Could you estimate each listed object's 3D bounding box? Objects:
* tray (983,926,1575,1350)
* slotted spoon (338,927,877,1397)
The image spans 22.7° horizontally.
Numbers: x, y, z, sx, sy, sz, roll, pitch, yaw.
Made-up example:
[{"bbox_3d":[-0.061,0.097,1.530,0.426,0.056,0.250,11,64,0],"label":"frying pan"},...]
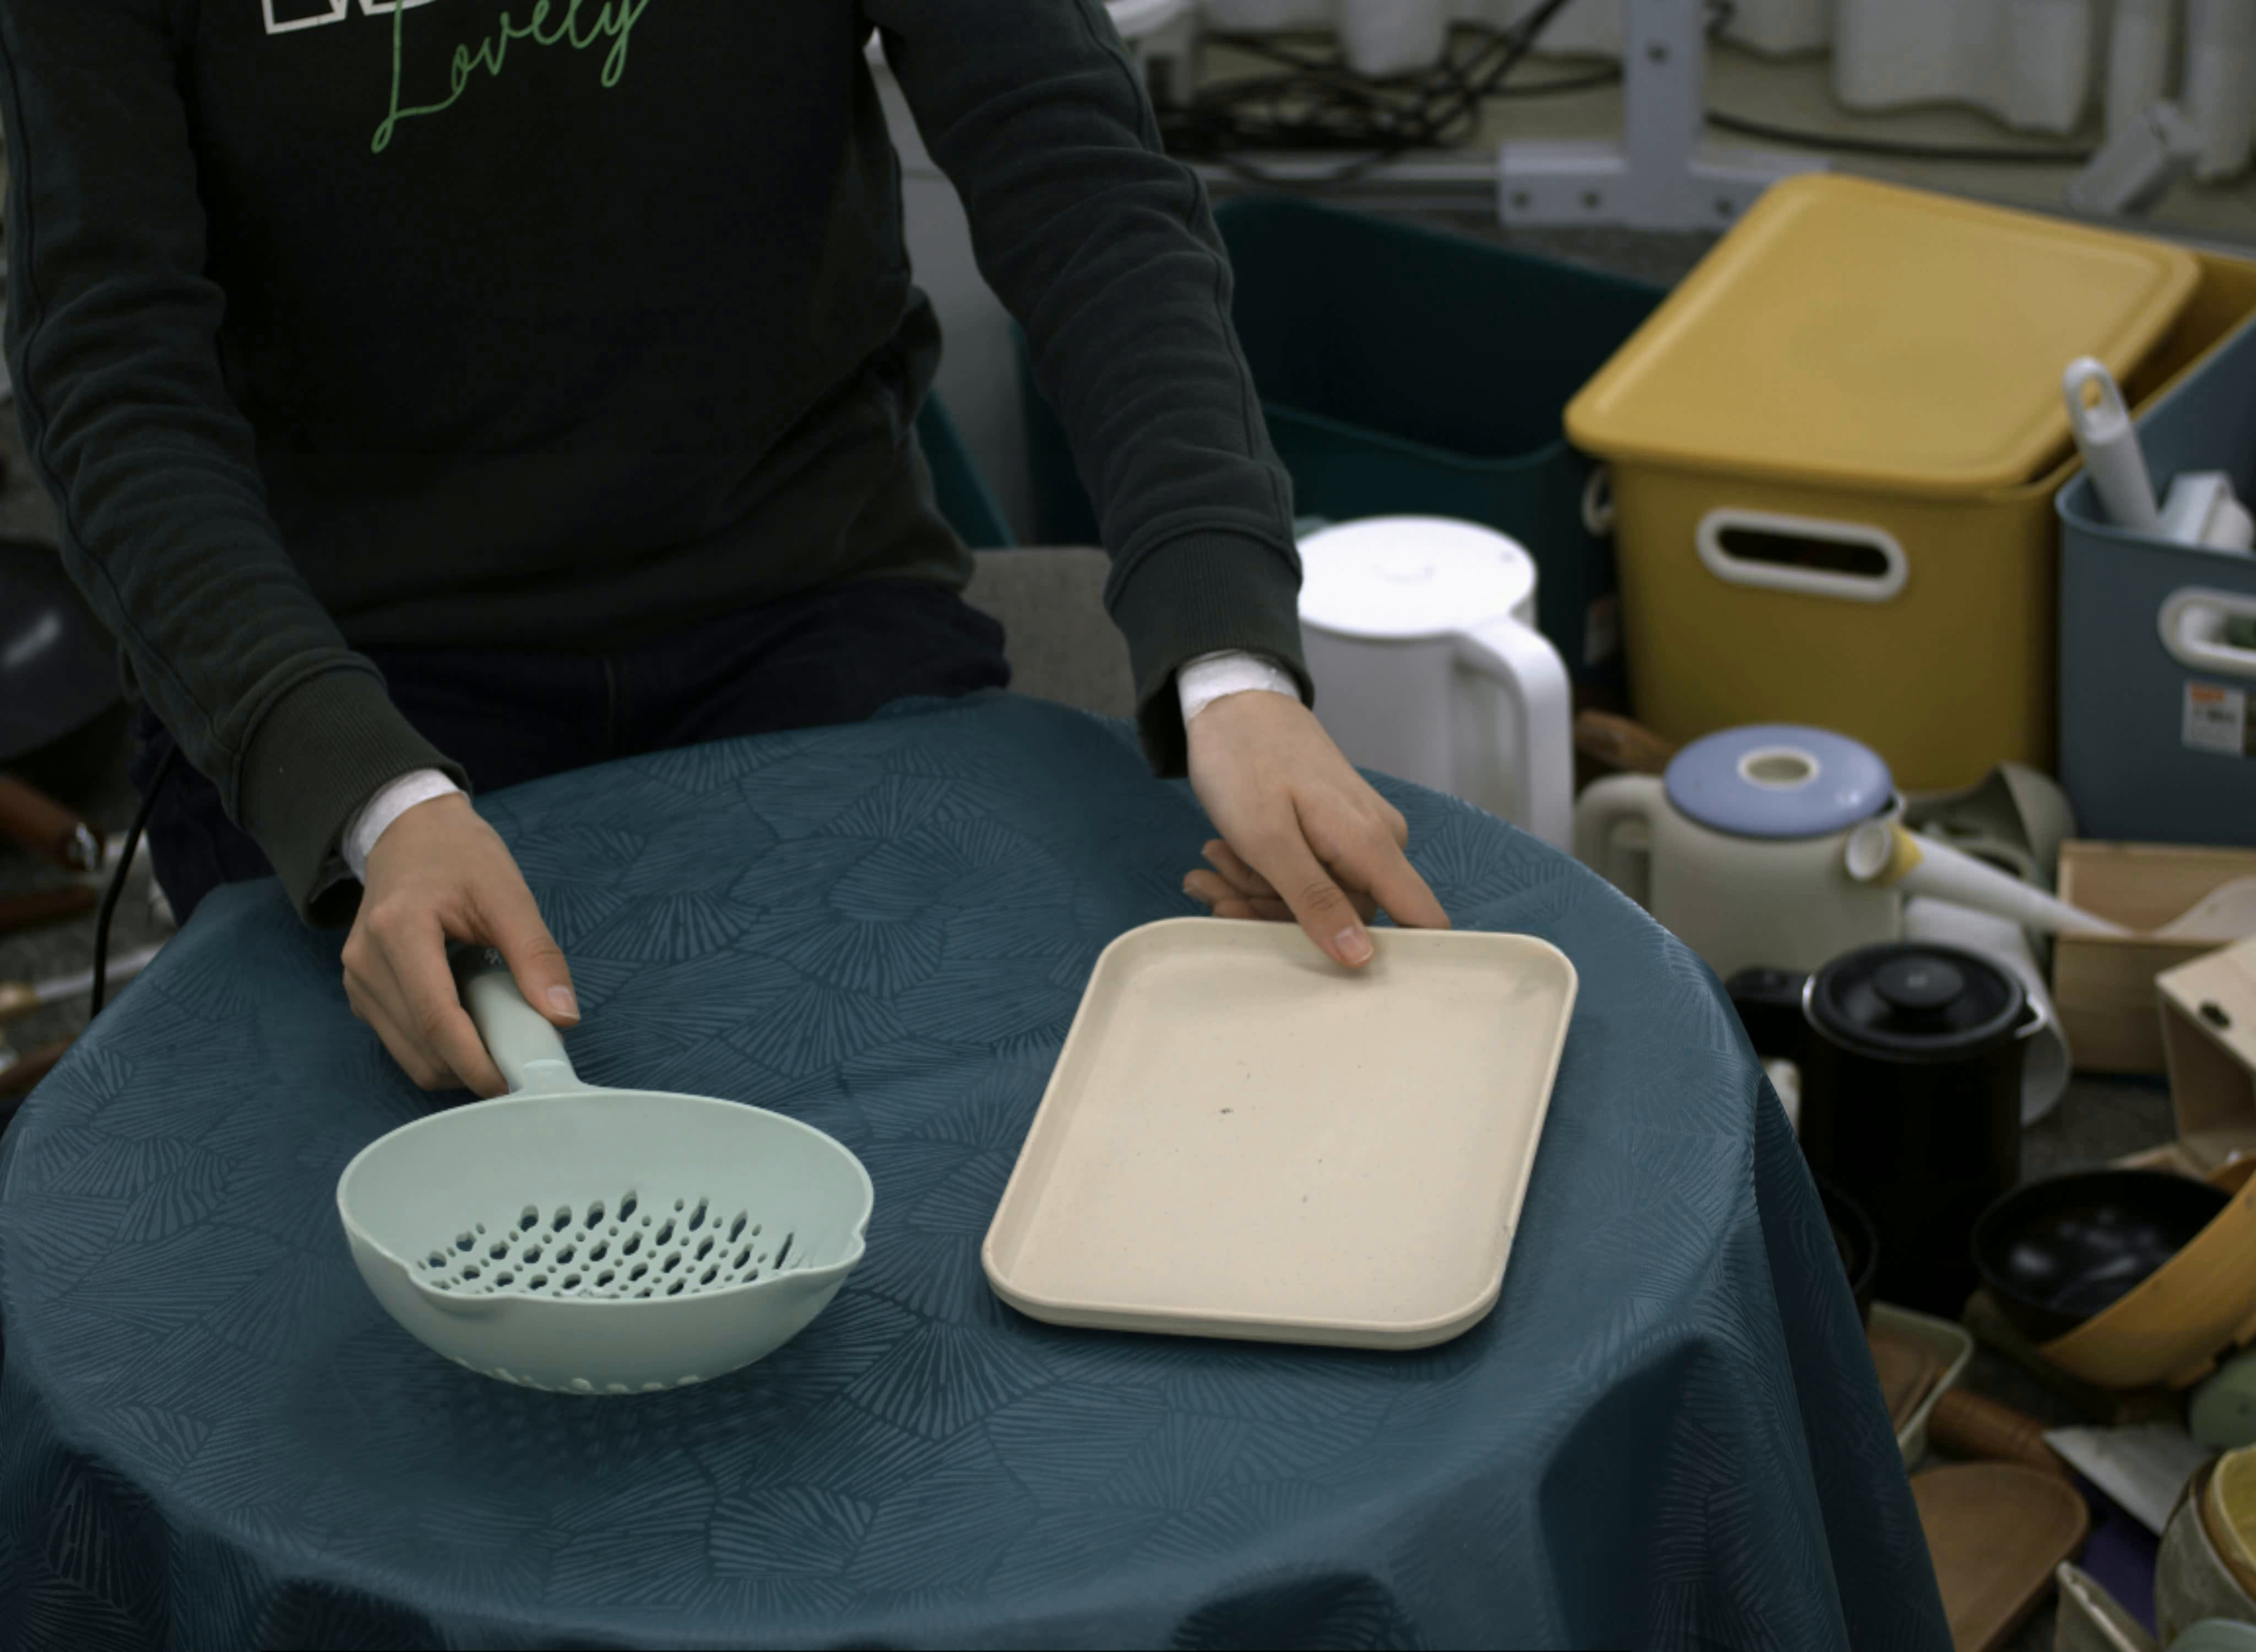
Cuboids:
[{"bbox_3d":[0.054,0.102,1.867,0.170,0.017,0.244,3,29,11],"label":"tray"},{"bbox_3d":[-0.190,0.096,1.857,0.169,0.074,0.362,-2,27,-16],"label":"slotted spoon"}]
